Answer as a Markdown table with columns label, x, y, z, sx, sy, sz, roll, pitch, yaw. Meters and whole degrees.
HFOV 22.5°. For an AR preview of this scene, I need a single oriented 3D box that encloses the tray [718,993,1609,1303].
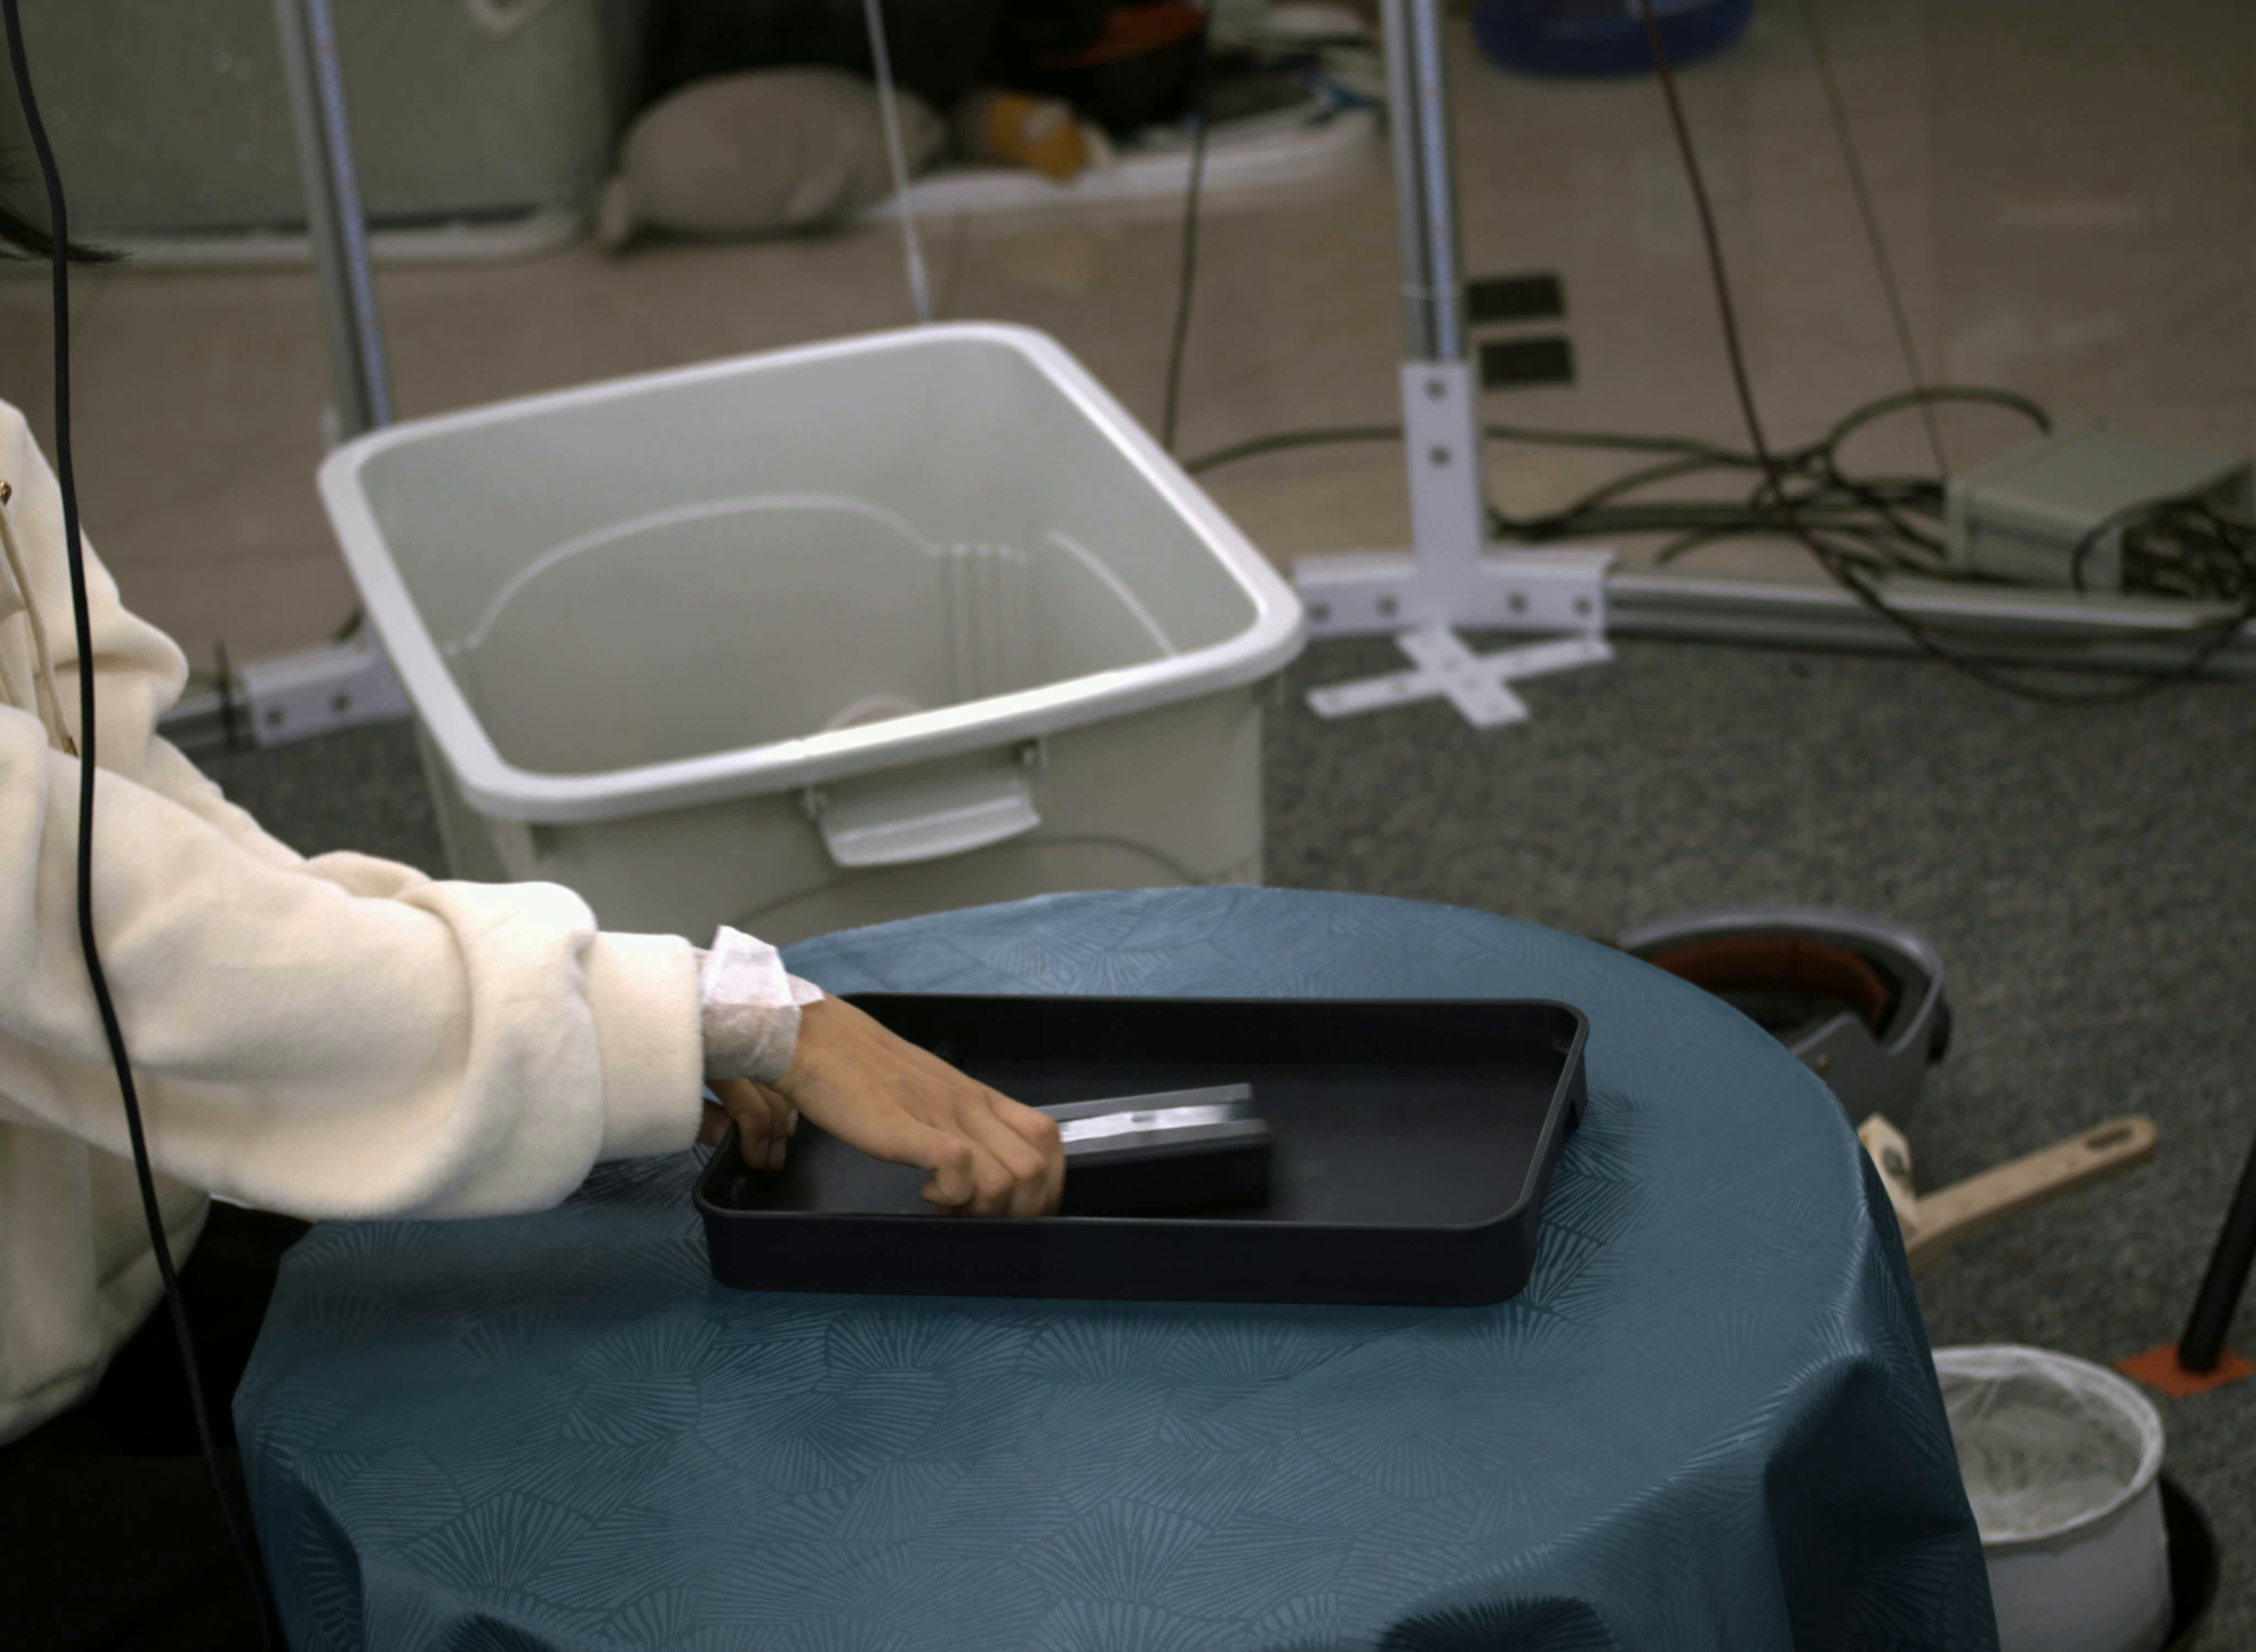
| label | x | y | z | sx | sy | sz | roll | pitch | yaw |
| --- | --- | --- | --- | --- | --- | --- | --- | --- | --- |
| tray | 0.017 | 0.119 | 2.141 | 0.317 | 0.037 | 0.181 | 0 | 25 | 12 |

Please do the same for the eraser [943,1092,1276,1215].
| label | x | y | z | sx | sy | sz | roll | pitch | yaw |
| --- | --- | --- | --- | --- | --- | --- | --- | --- | --- |
| eraser | -0.006 | 0.127 | 2.133 | 0.125 | 0.031 | 0.053 | -7 | 21 | 1 |
